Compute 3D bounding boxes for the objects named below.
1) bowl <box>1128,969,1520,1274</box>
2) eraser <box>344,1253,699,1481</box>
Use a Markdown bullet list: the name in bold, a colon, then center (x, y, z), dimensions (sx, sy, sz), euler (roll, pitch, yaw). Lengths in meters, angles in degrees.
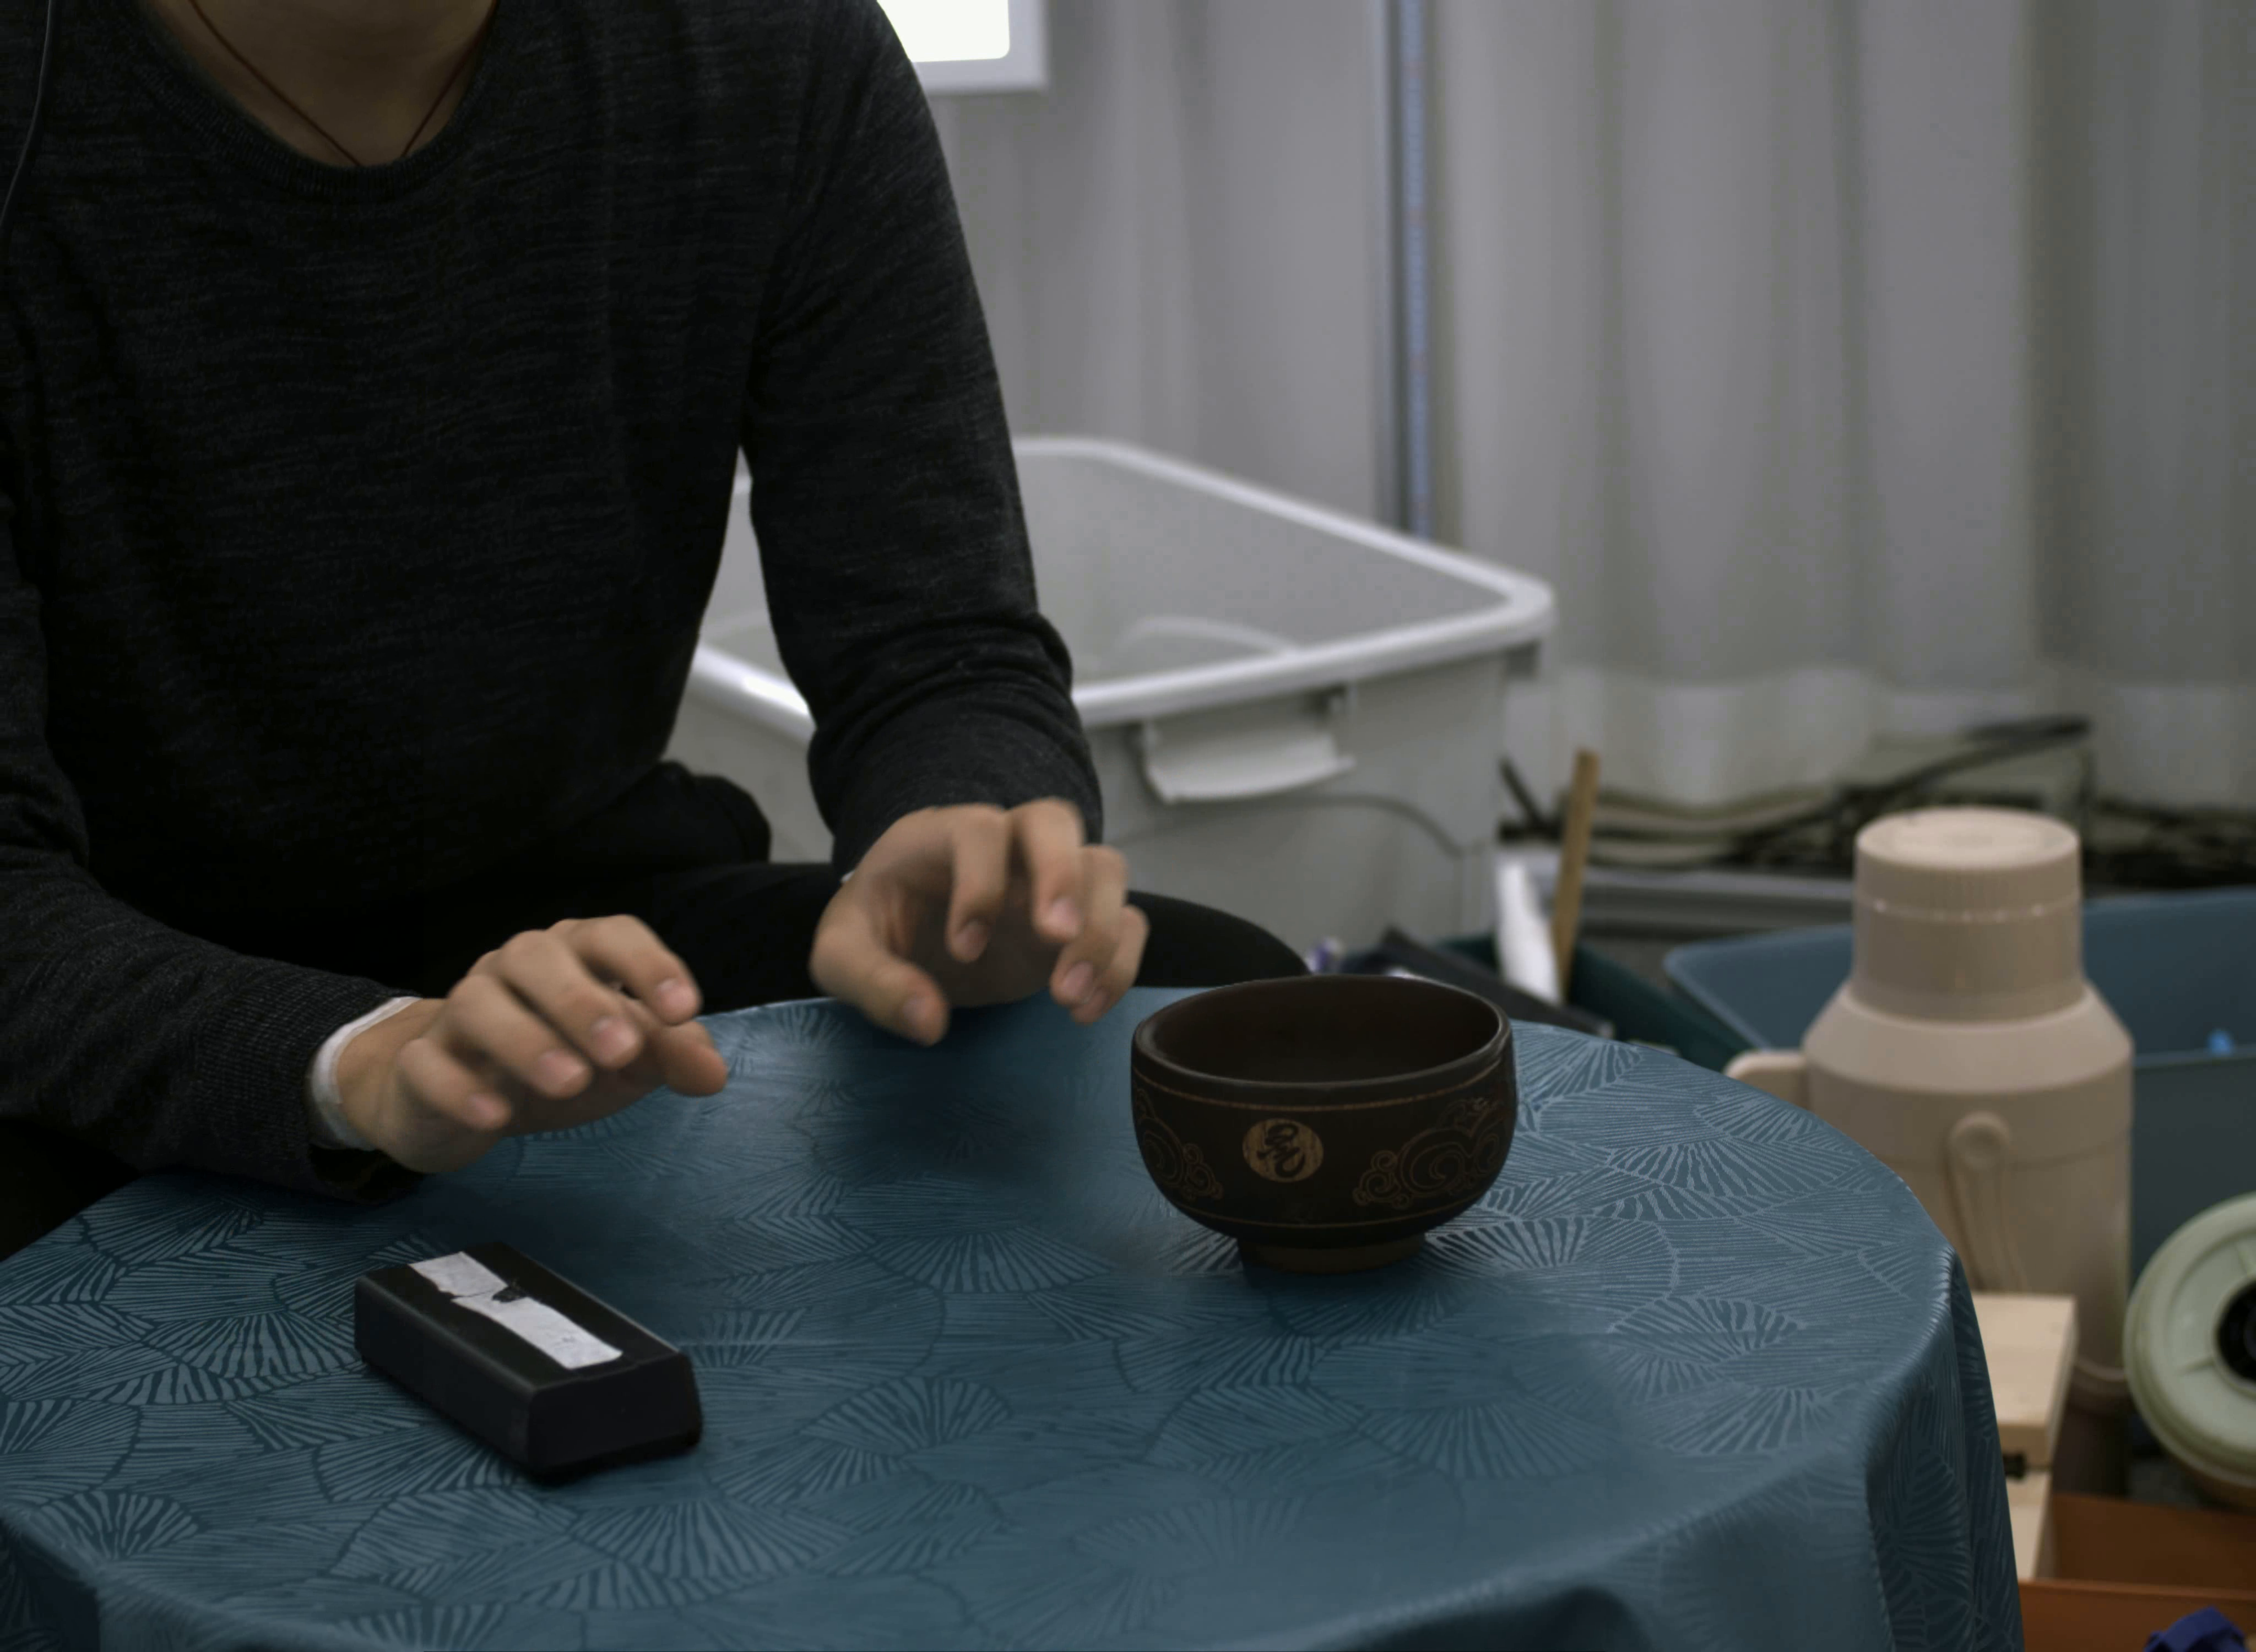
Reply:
- **bowl**: center (0.060, 0.093, 1.648), dimensions (0.117, 0.069, 0.119), euler (-4, 16, 1)
- **eraser**: center (-0.172, 0.152, 1.551), dimensions (0.053, 0.030, 0.126), euler (-8, 15, -31)
